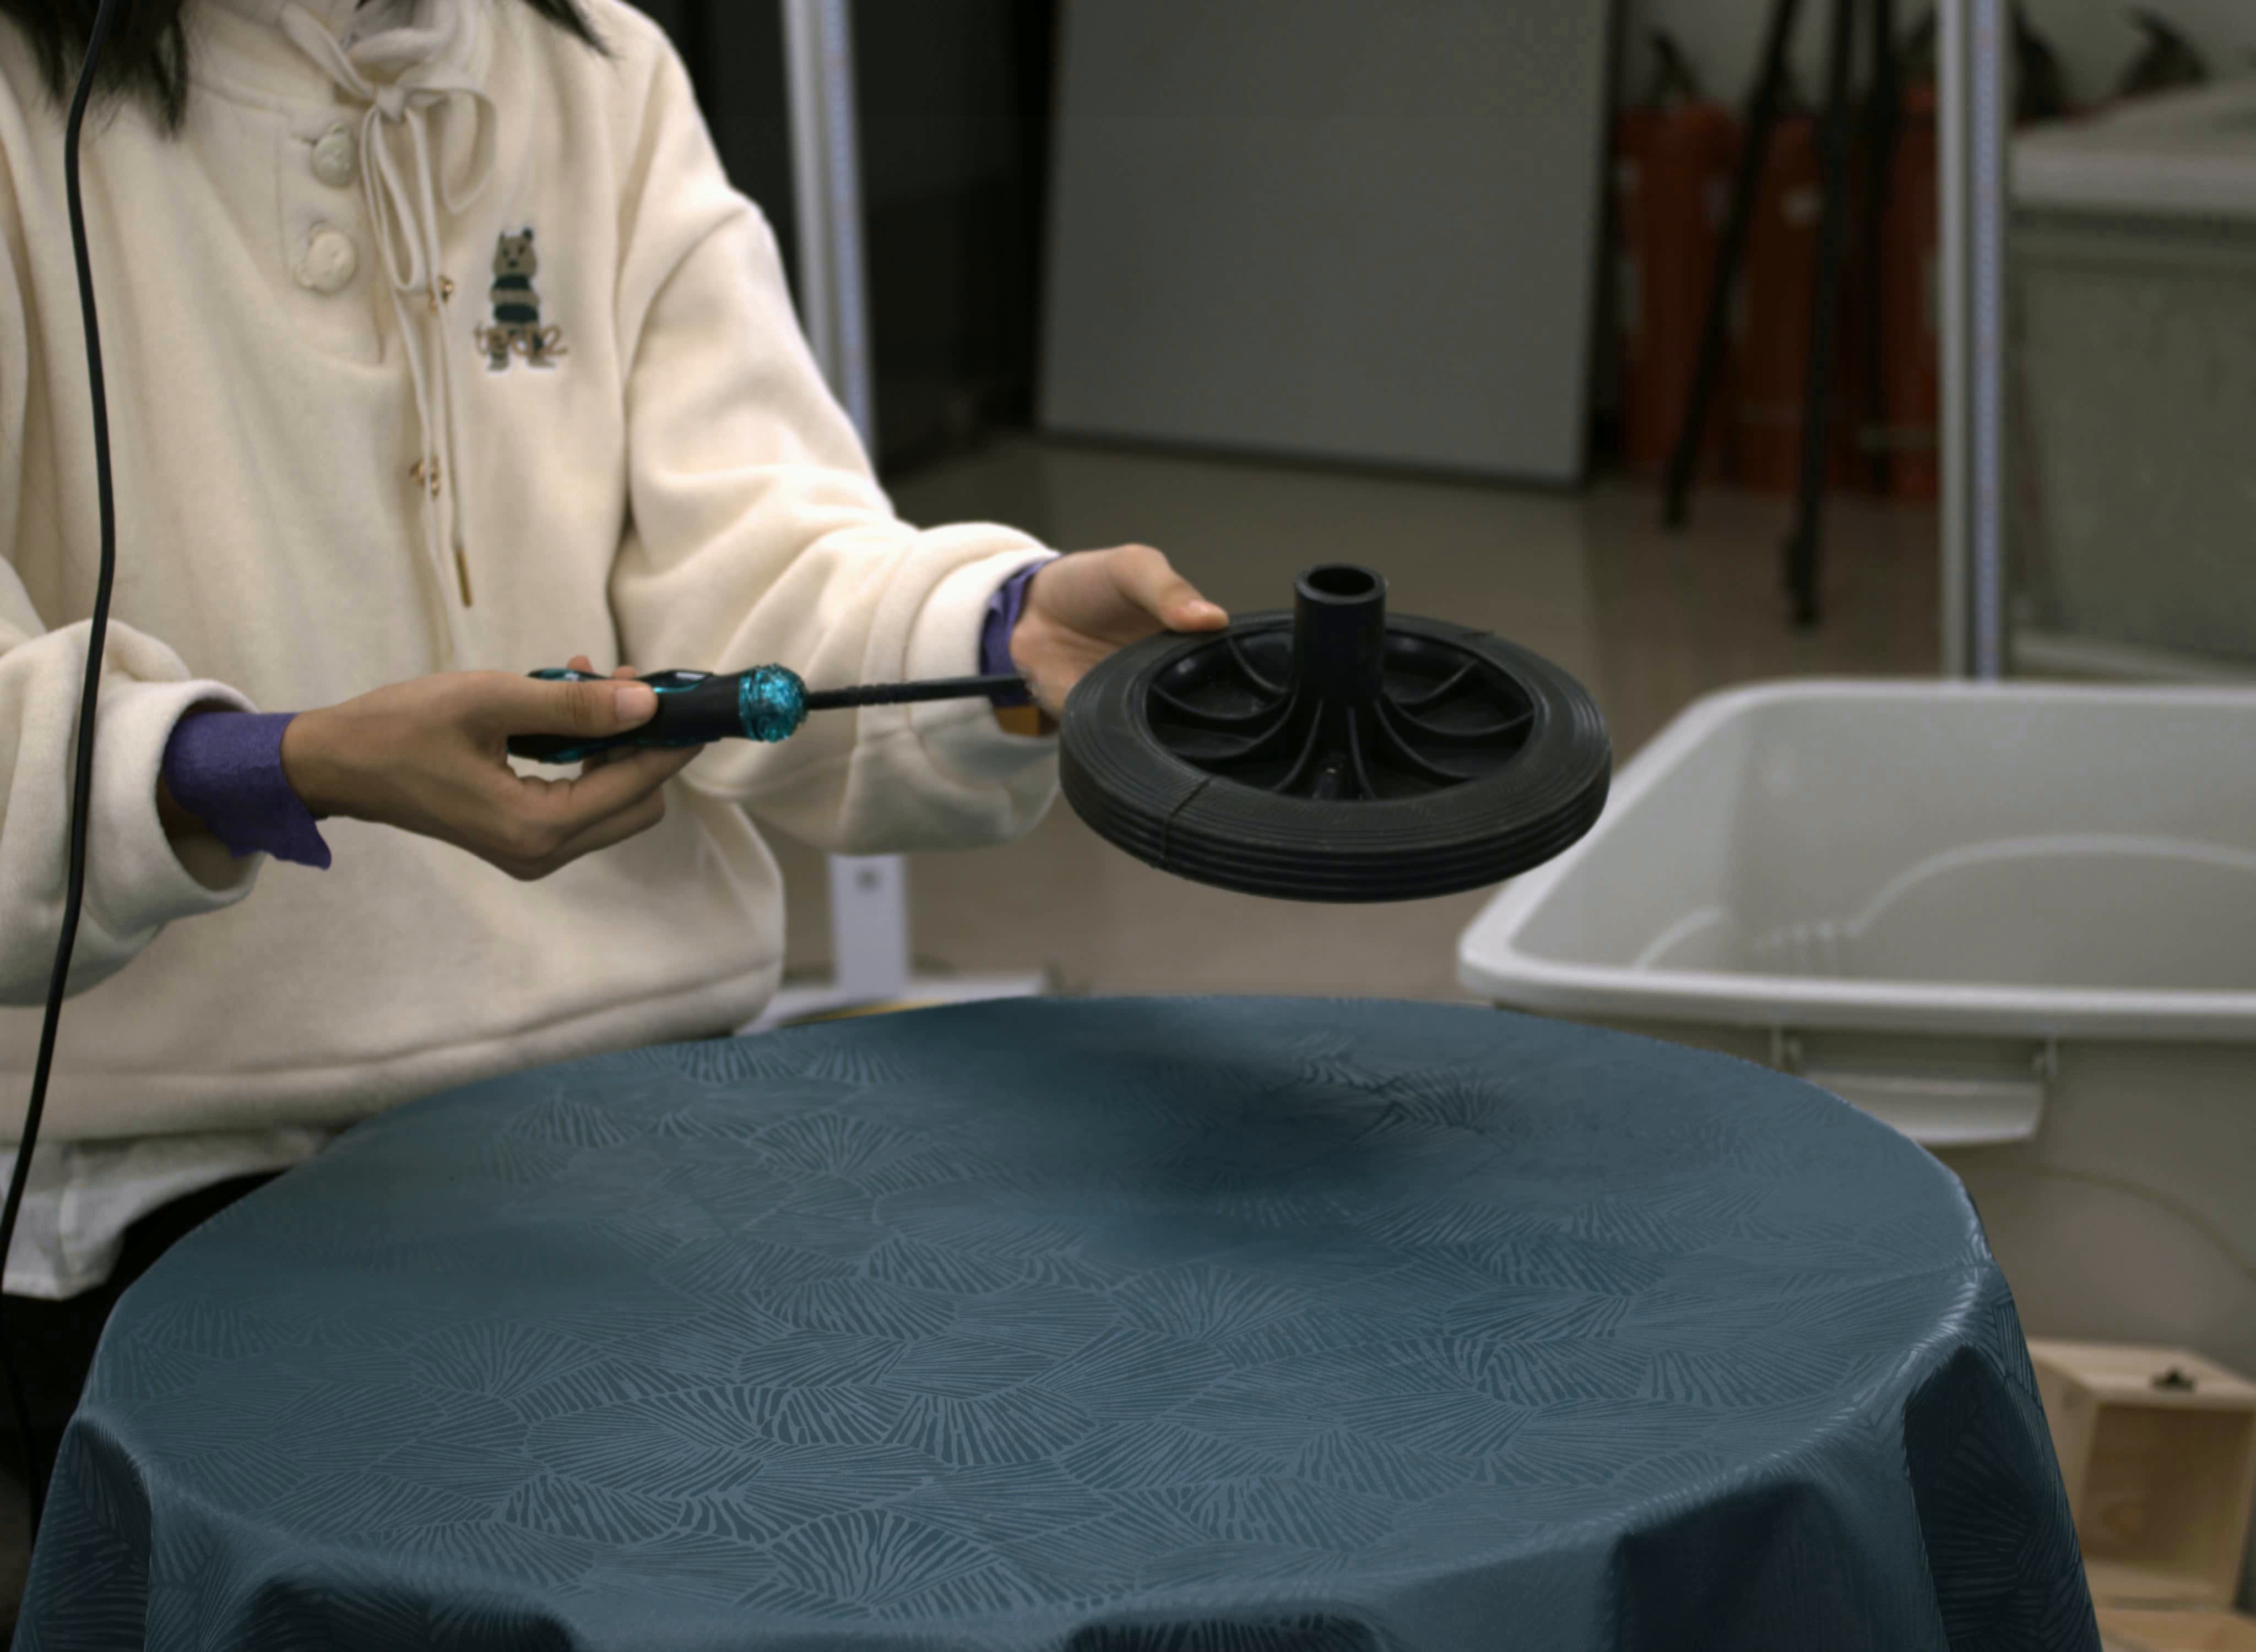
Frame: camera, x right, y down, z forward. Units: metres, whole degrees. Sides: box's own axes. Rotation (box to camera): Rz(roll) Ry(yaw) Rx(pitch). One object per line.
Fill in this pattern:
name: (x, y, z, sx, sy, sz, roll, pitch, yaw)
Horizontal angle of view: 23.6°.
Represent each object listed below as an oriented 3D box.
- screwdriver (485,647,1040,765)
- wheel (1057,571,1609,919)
screwdriver: (-0.119, -0.044, 1.764, 0.189, 0.034, 0.033, -6, 12, 16)
wheel: (0.070, -0.042, 1.806, 0.184, 0.080, 0.192, -7, 30, -14)
